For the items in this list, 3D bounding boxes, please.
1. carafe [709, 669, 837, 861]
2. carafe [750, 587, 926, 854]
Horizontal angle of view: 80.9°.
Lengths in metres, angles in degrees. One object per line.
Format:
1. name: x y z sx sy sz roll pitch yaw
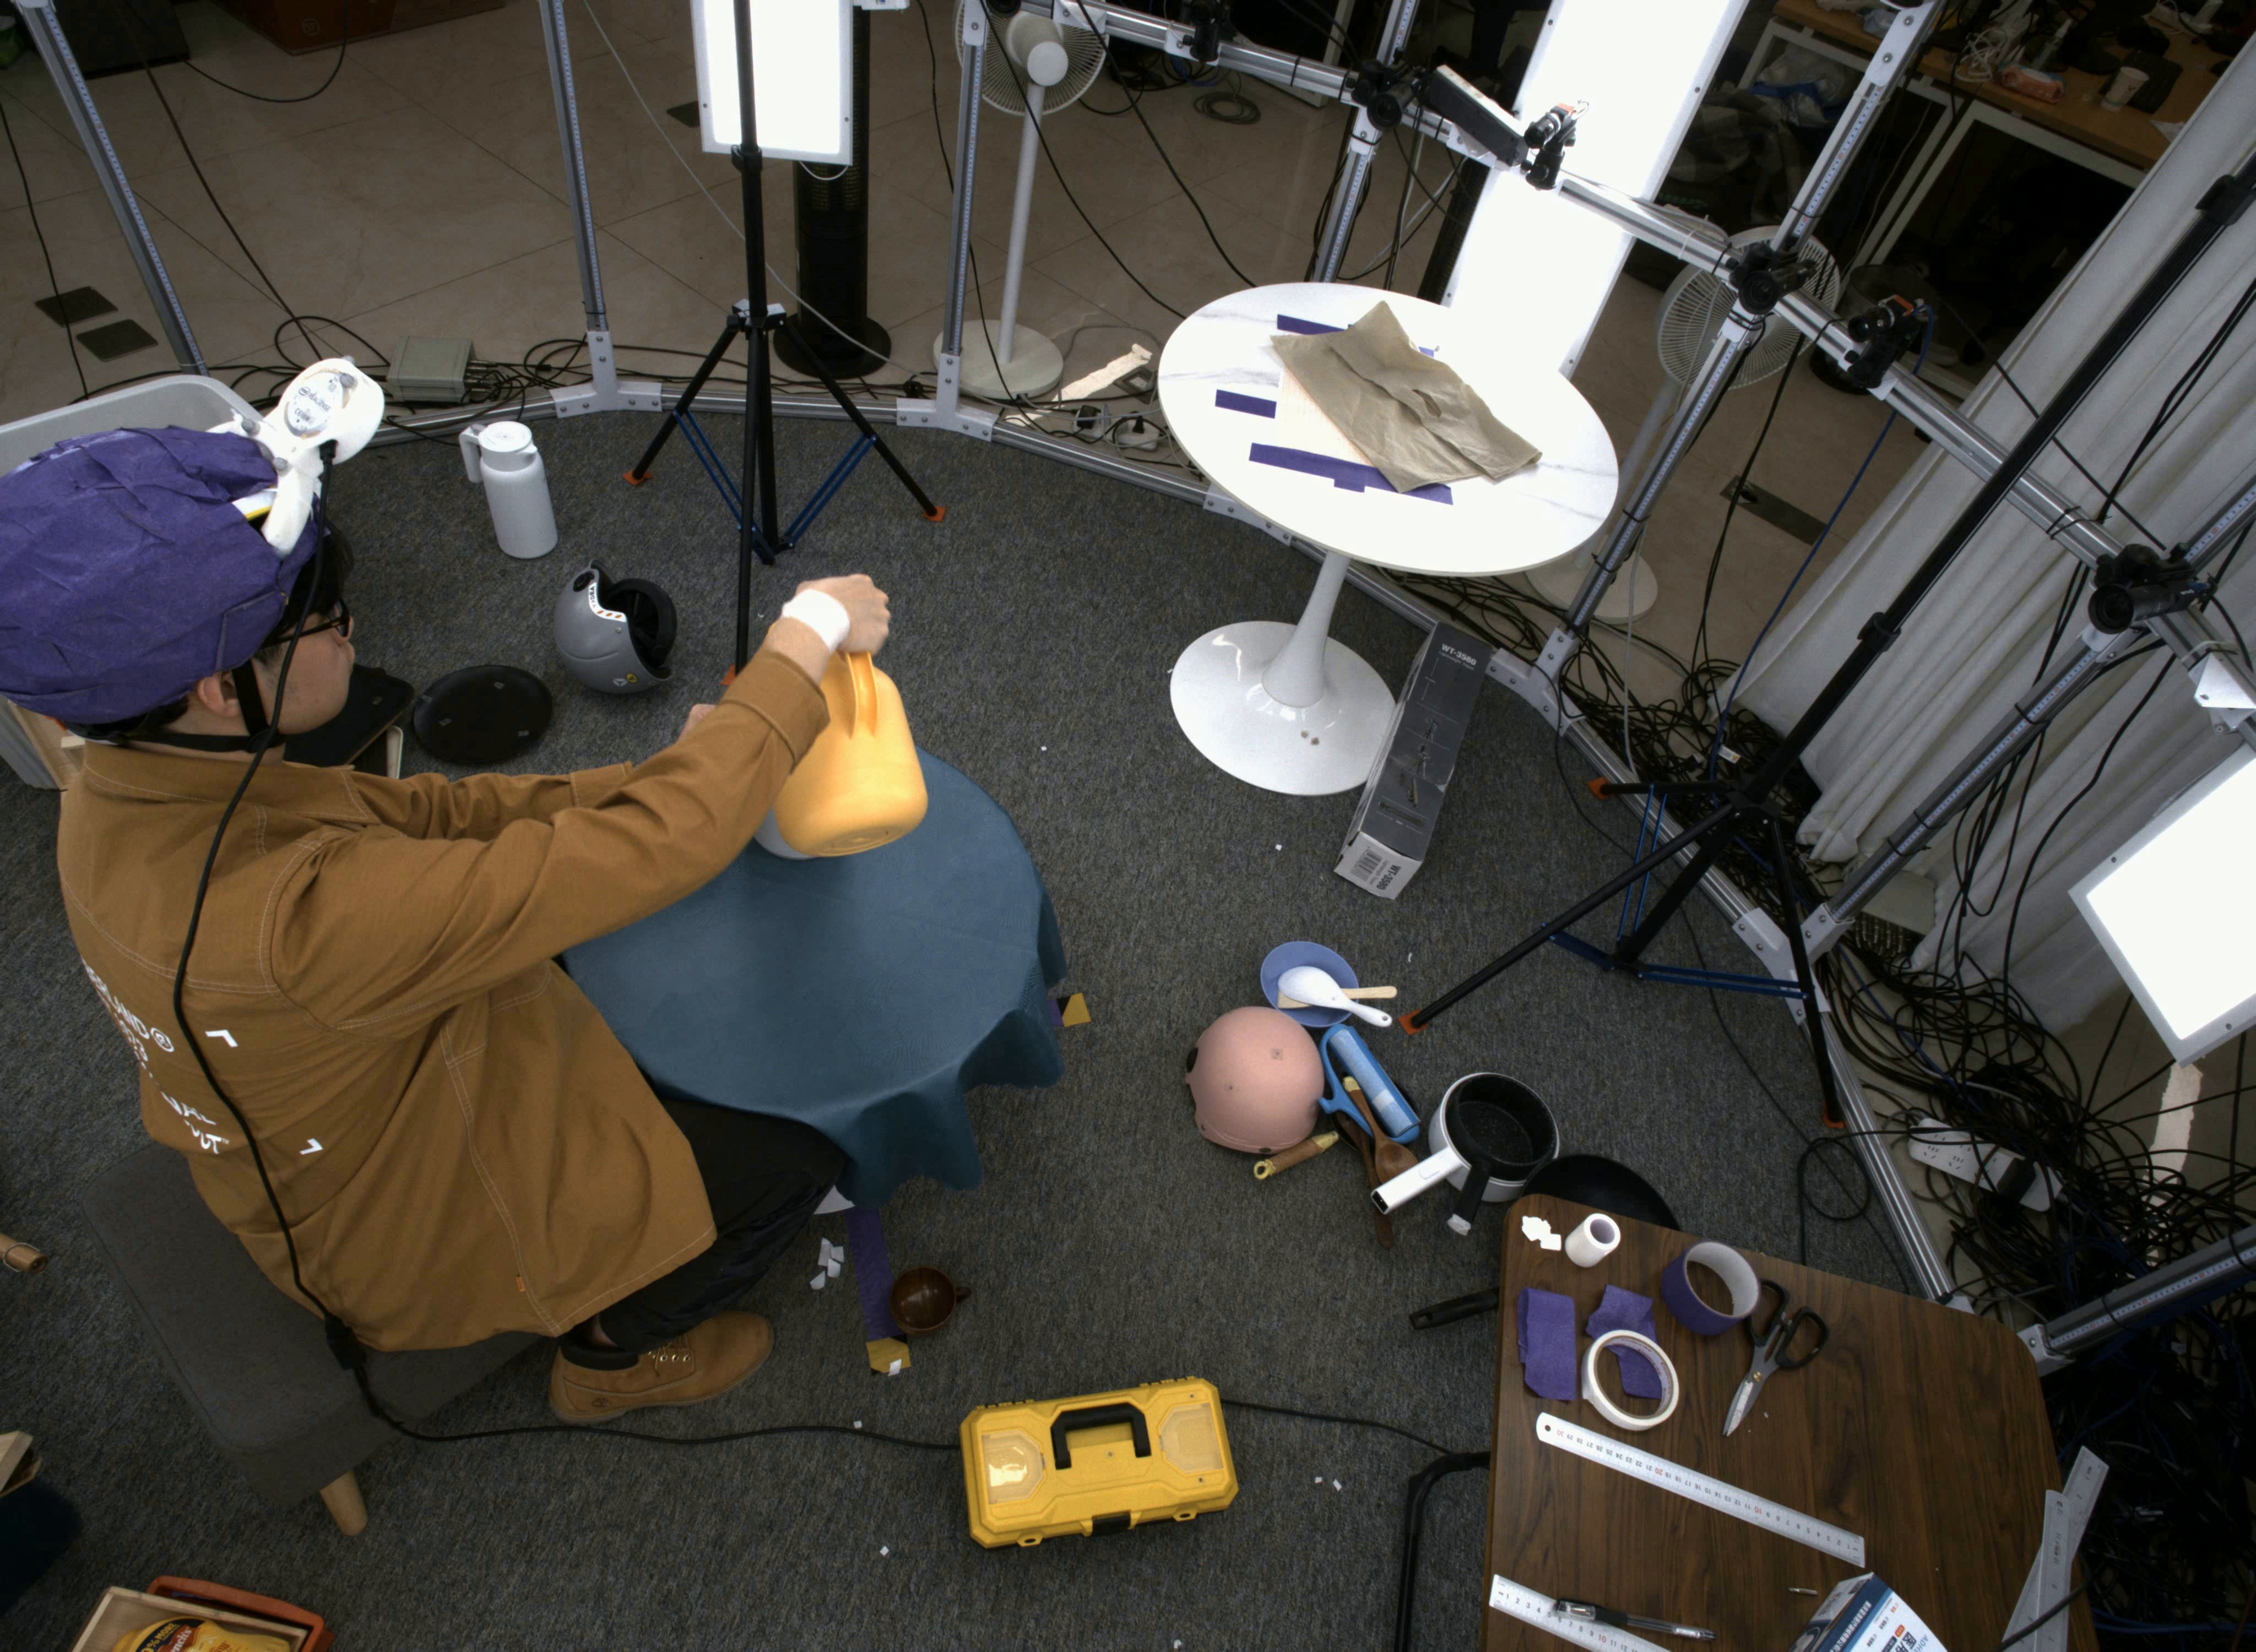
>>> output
1. carafe: -0.436 -0.084 1.621 0.168 0.254 0.129 -3 53 -14
2. carafe: -0.315 -0.118 1.377 0.165 0.200 0.261 -14 81 -31
